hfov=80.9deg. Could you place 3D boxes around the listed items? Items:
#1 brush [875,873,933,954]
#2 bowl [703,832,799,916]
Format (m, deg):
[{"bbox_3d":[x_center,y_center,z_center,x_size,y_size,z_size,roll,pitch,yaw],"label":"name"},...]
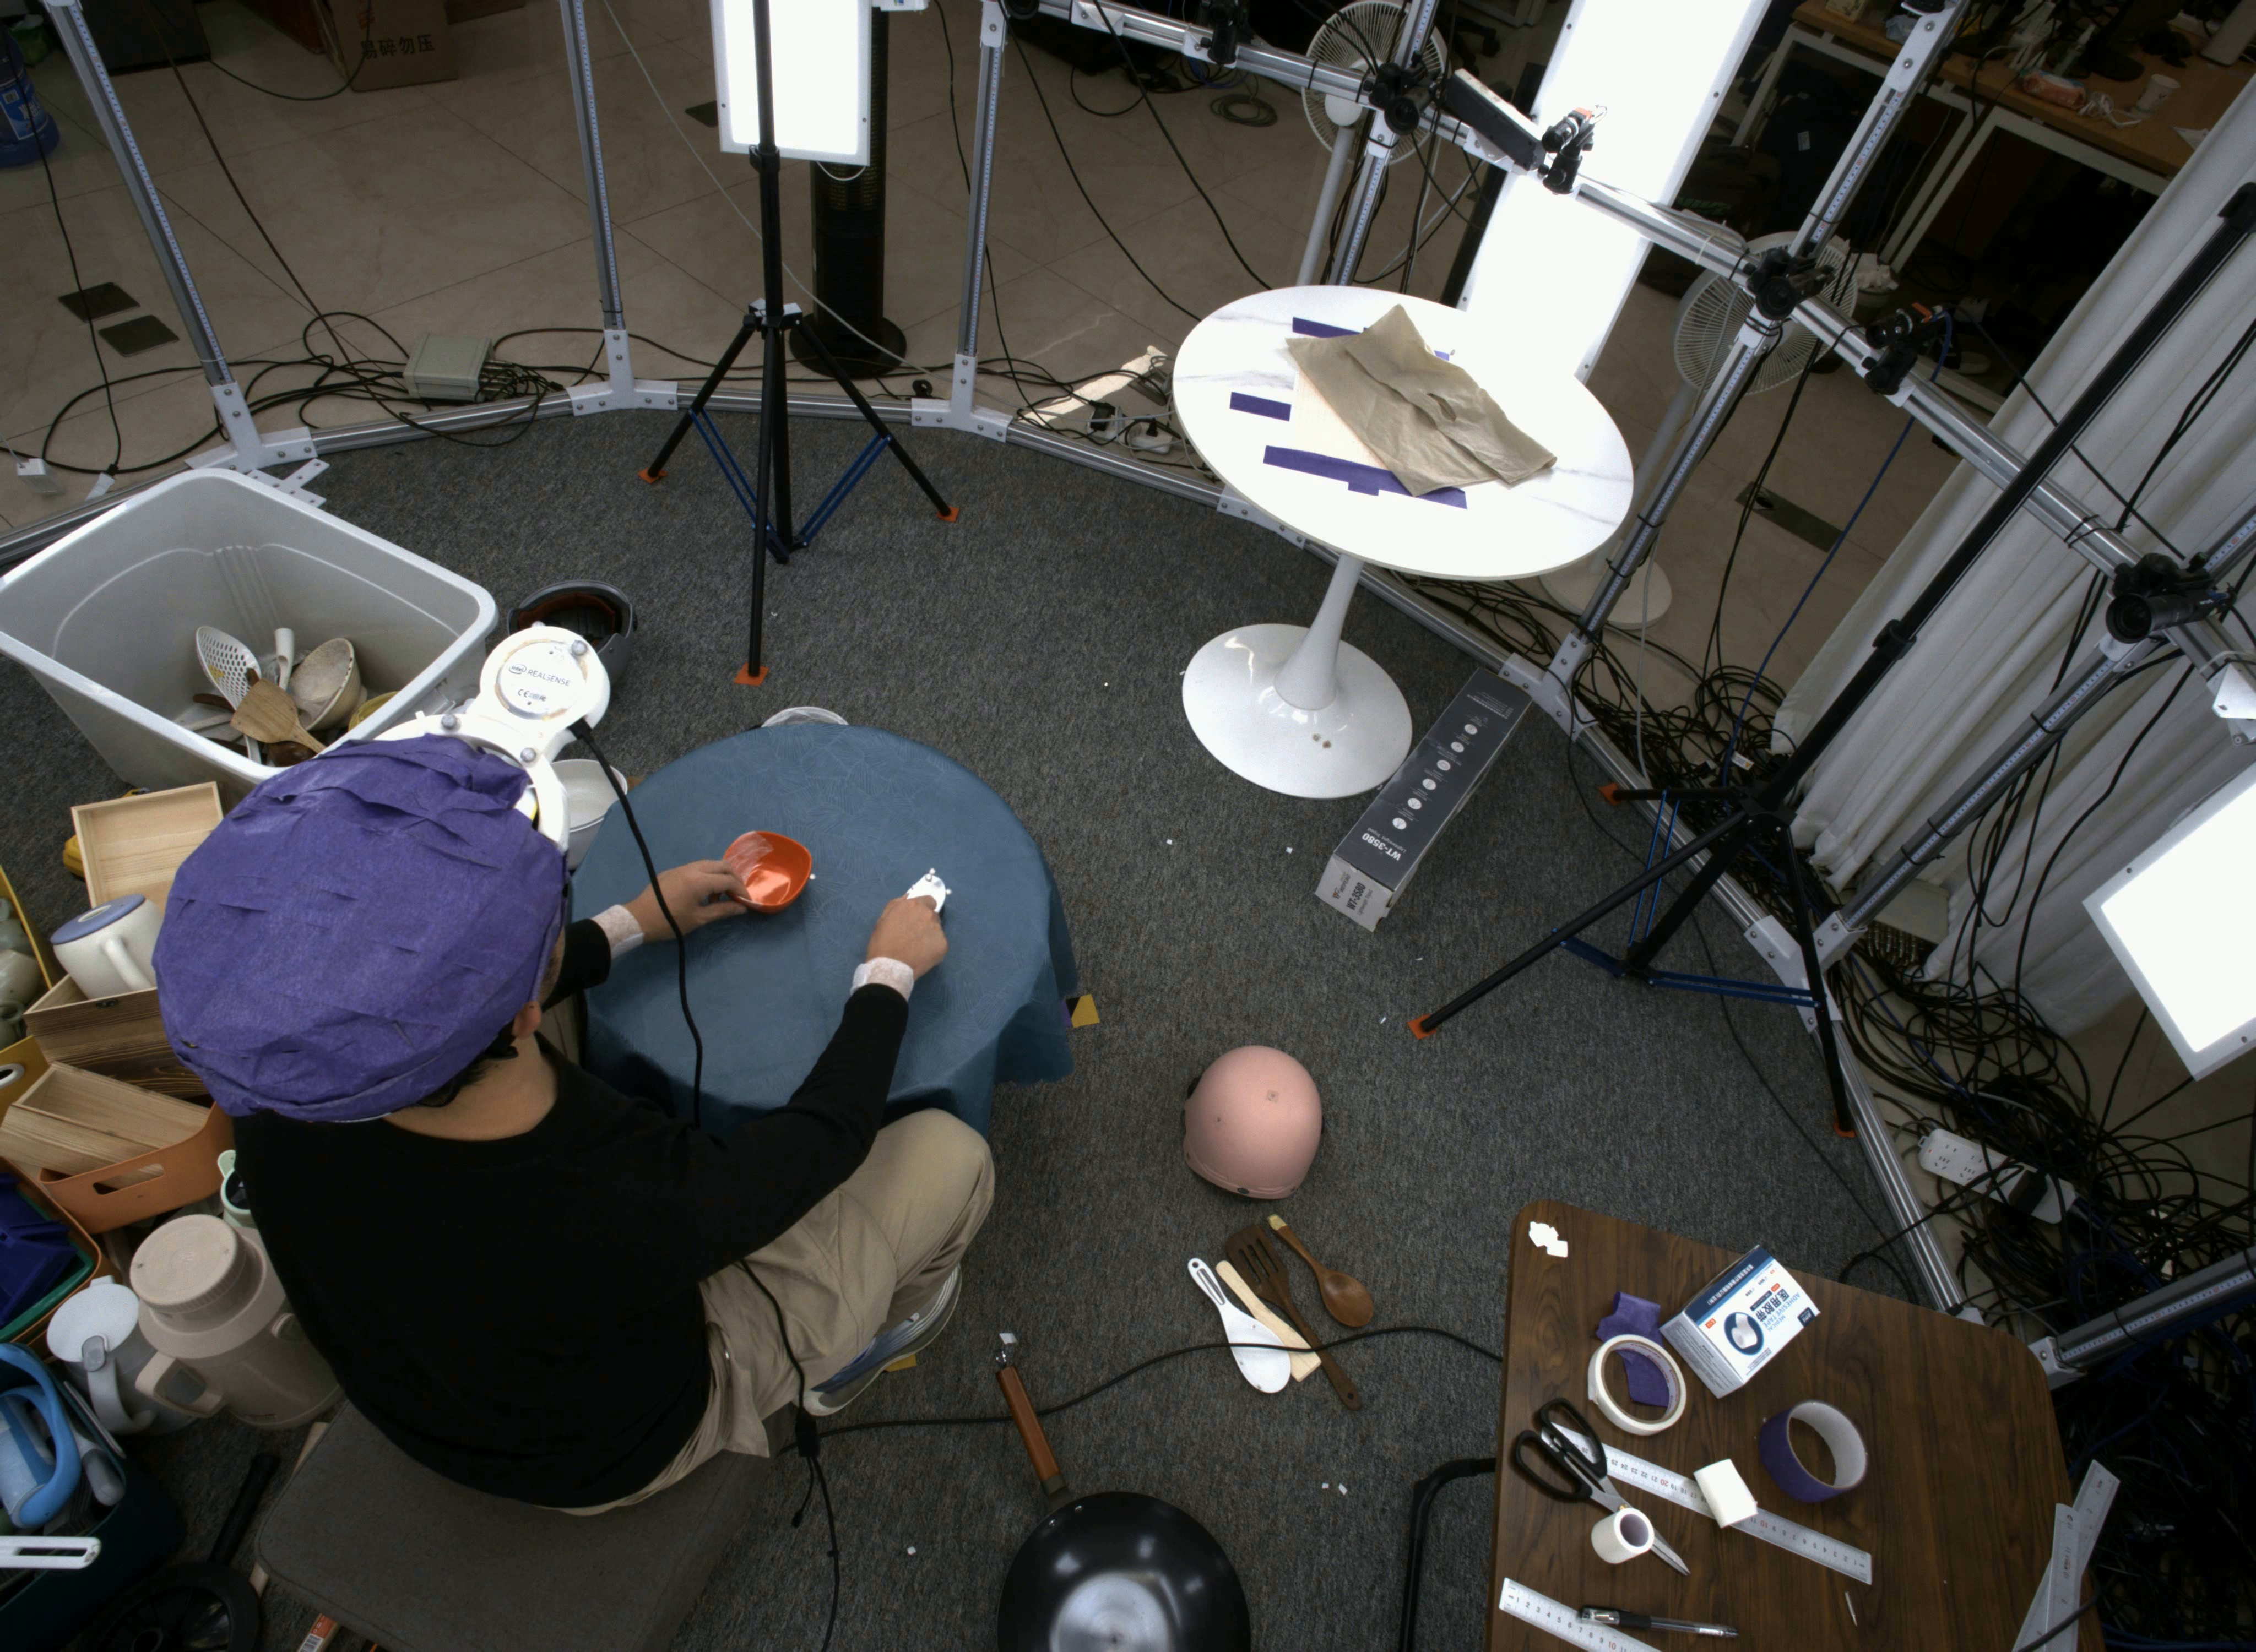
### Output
[{"bbox_3d":[-0.280,0.101,1.633,0.049,0.074,0.098,26,51,8],"label":"brush"},{"bbox_3d":[-0.472,0.067,1.622,0.119,0.052,0.116,10,49,-10],"label":"bowl"}]
